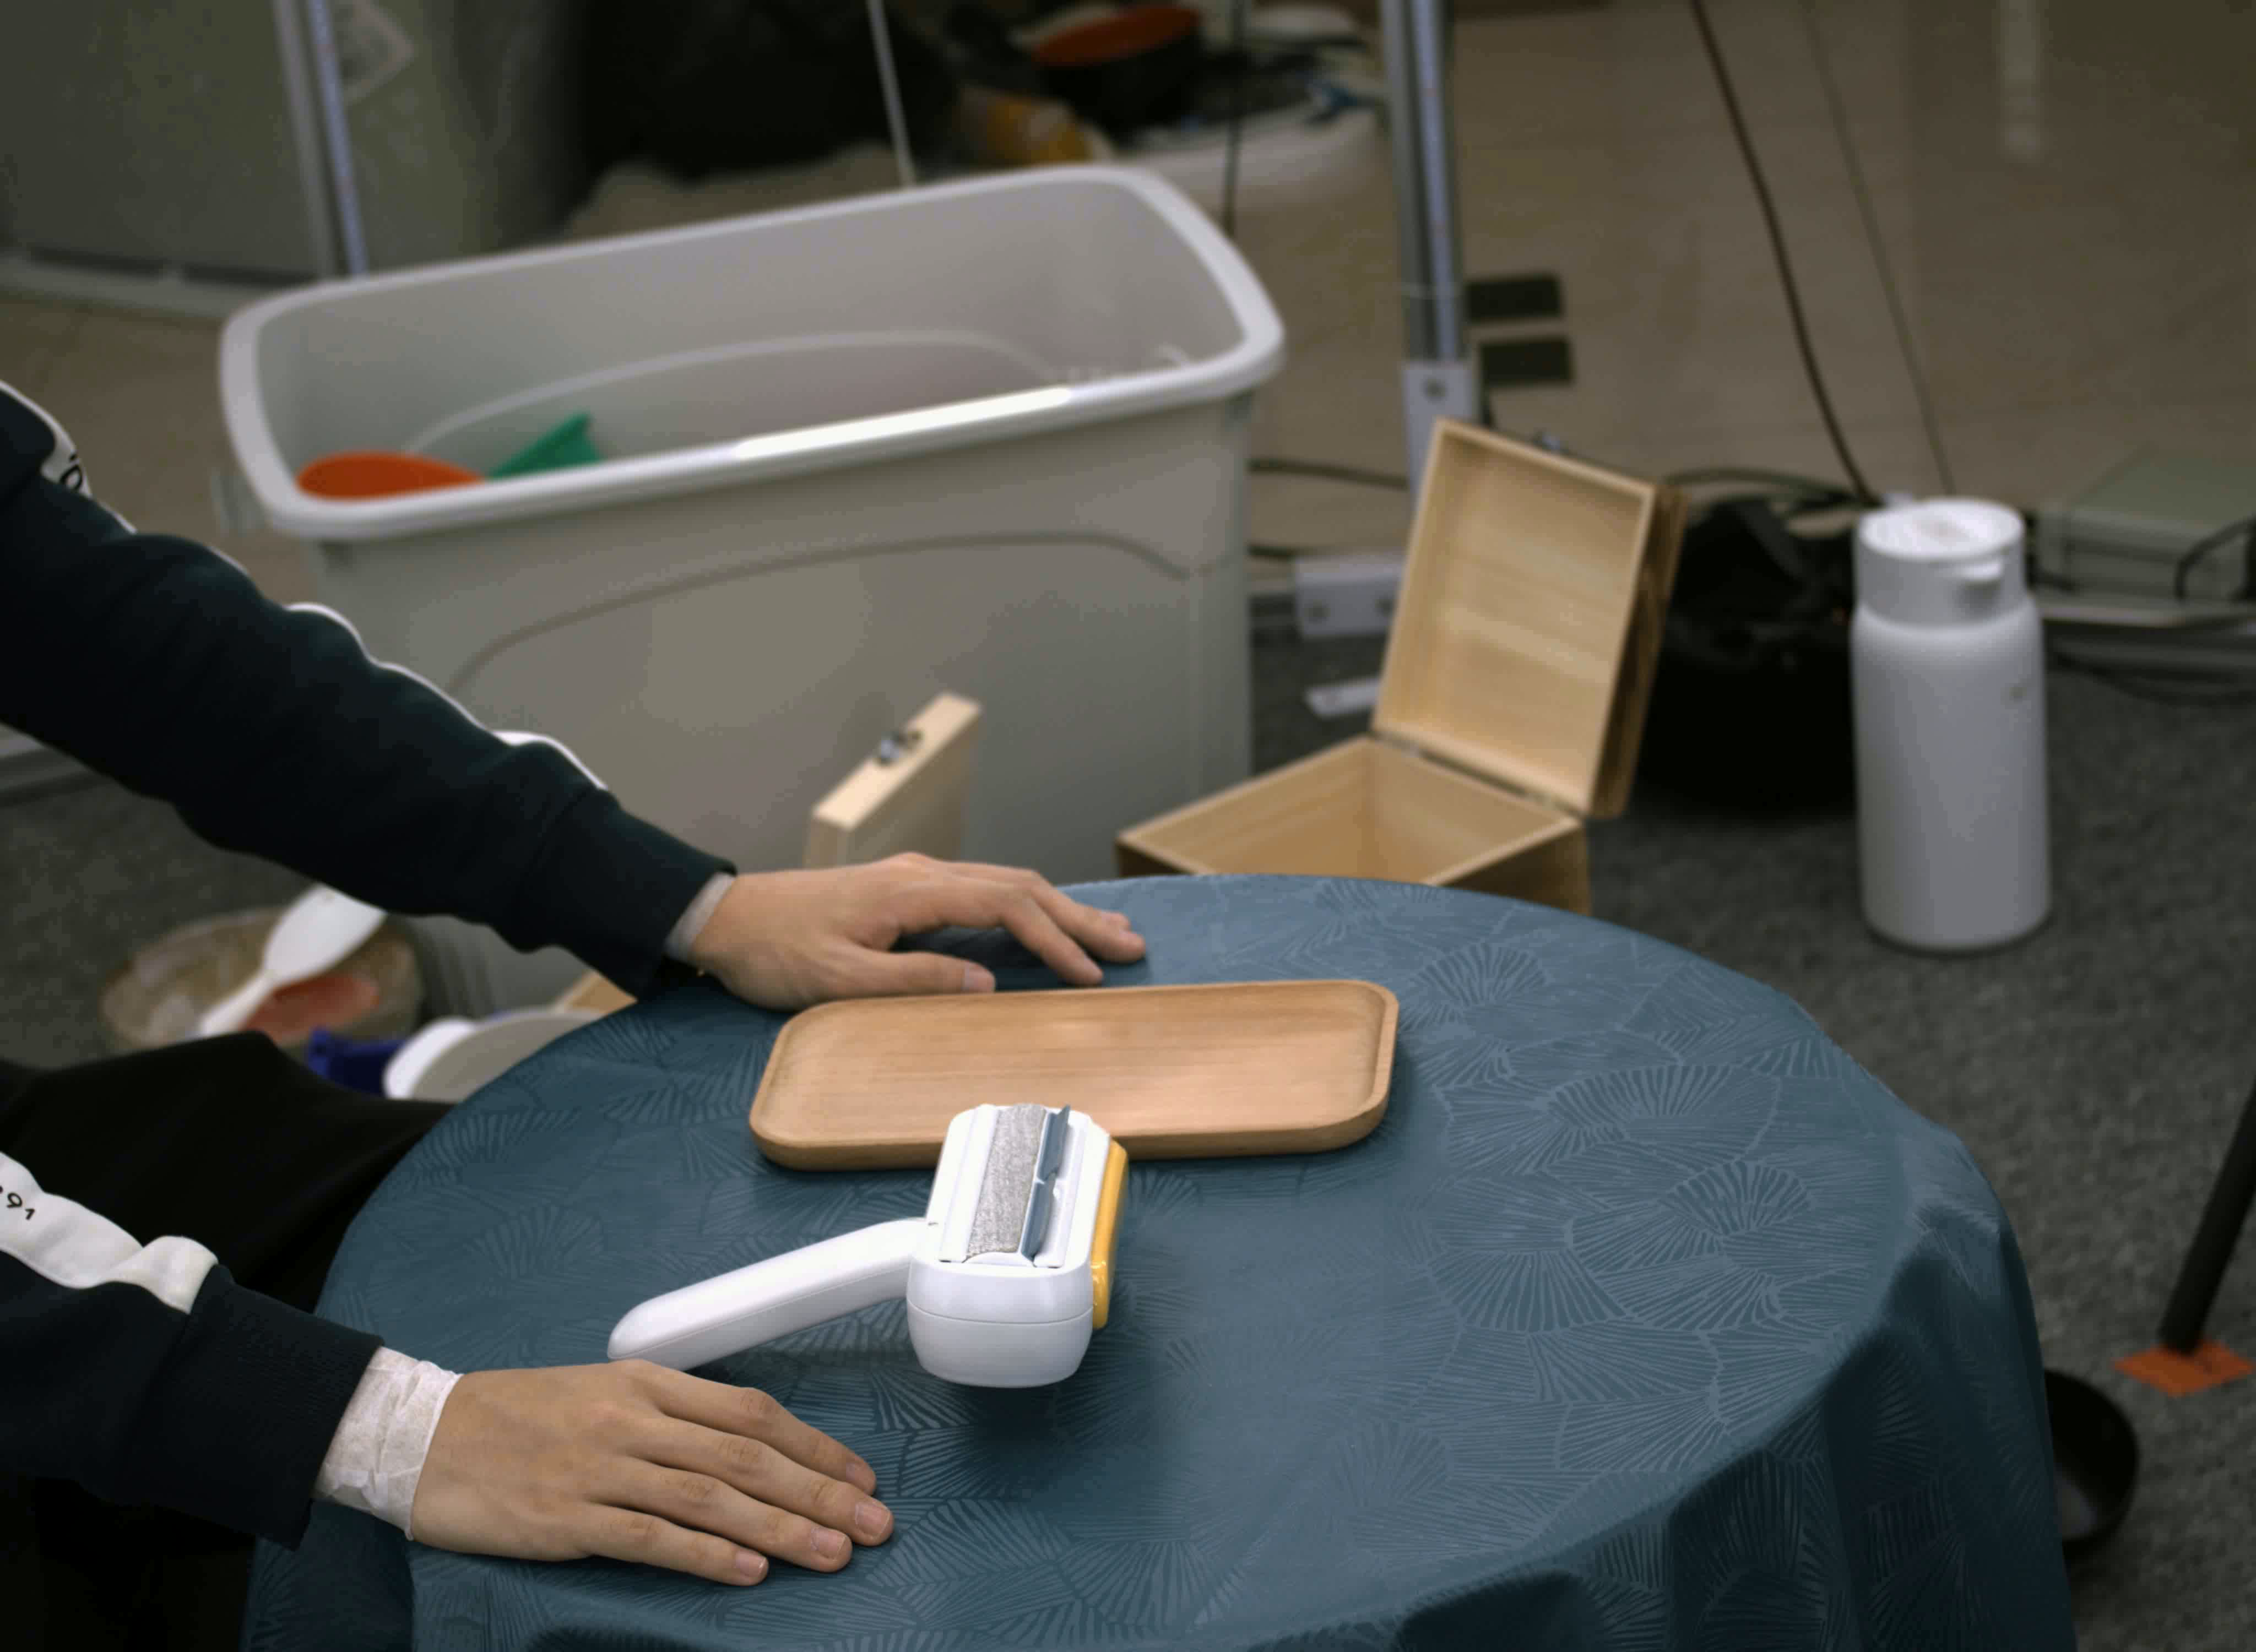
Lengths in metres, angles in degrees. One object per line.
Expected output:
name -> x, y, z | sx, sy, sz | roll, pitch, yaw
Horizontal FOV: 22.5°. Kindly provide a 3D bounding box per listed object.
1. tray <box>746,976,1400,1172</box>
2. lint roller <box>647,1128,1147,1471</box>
tray -> -0.020, 0.098, 2.219 | 0.250, 0.023, 0.129 | -3, 23, 10
lint roller -> -0.092, 0.179, 2.045 | 0.192, 0.075, 0.190 | -17, 15, 14
